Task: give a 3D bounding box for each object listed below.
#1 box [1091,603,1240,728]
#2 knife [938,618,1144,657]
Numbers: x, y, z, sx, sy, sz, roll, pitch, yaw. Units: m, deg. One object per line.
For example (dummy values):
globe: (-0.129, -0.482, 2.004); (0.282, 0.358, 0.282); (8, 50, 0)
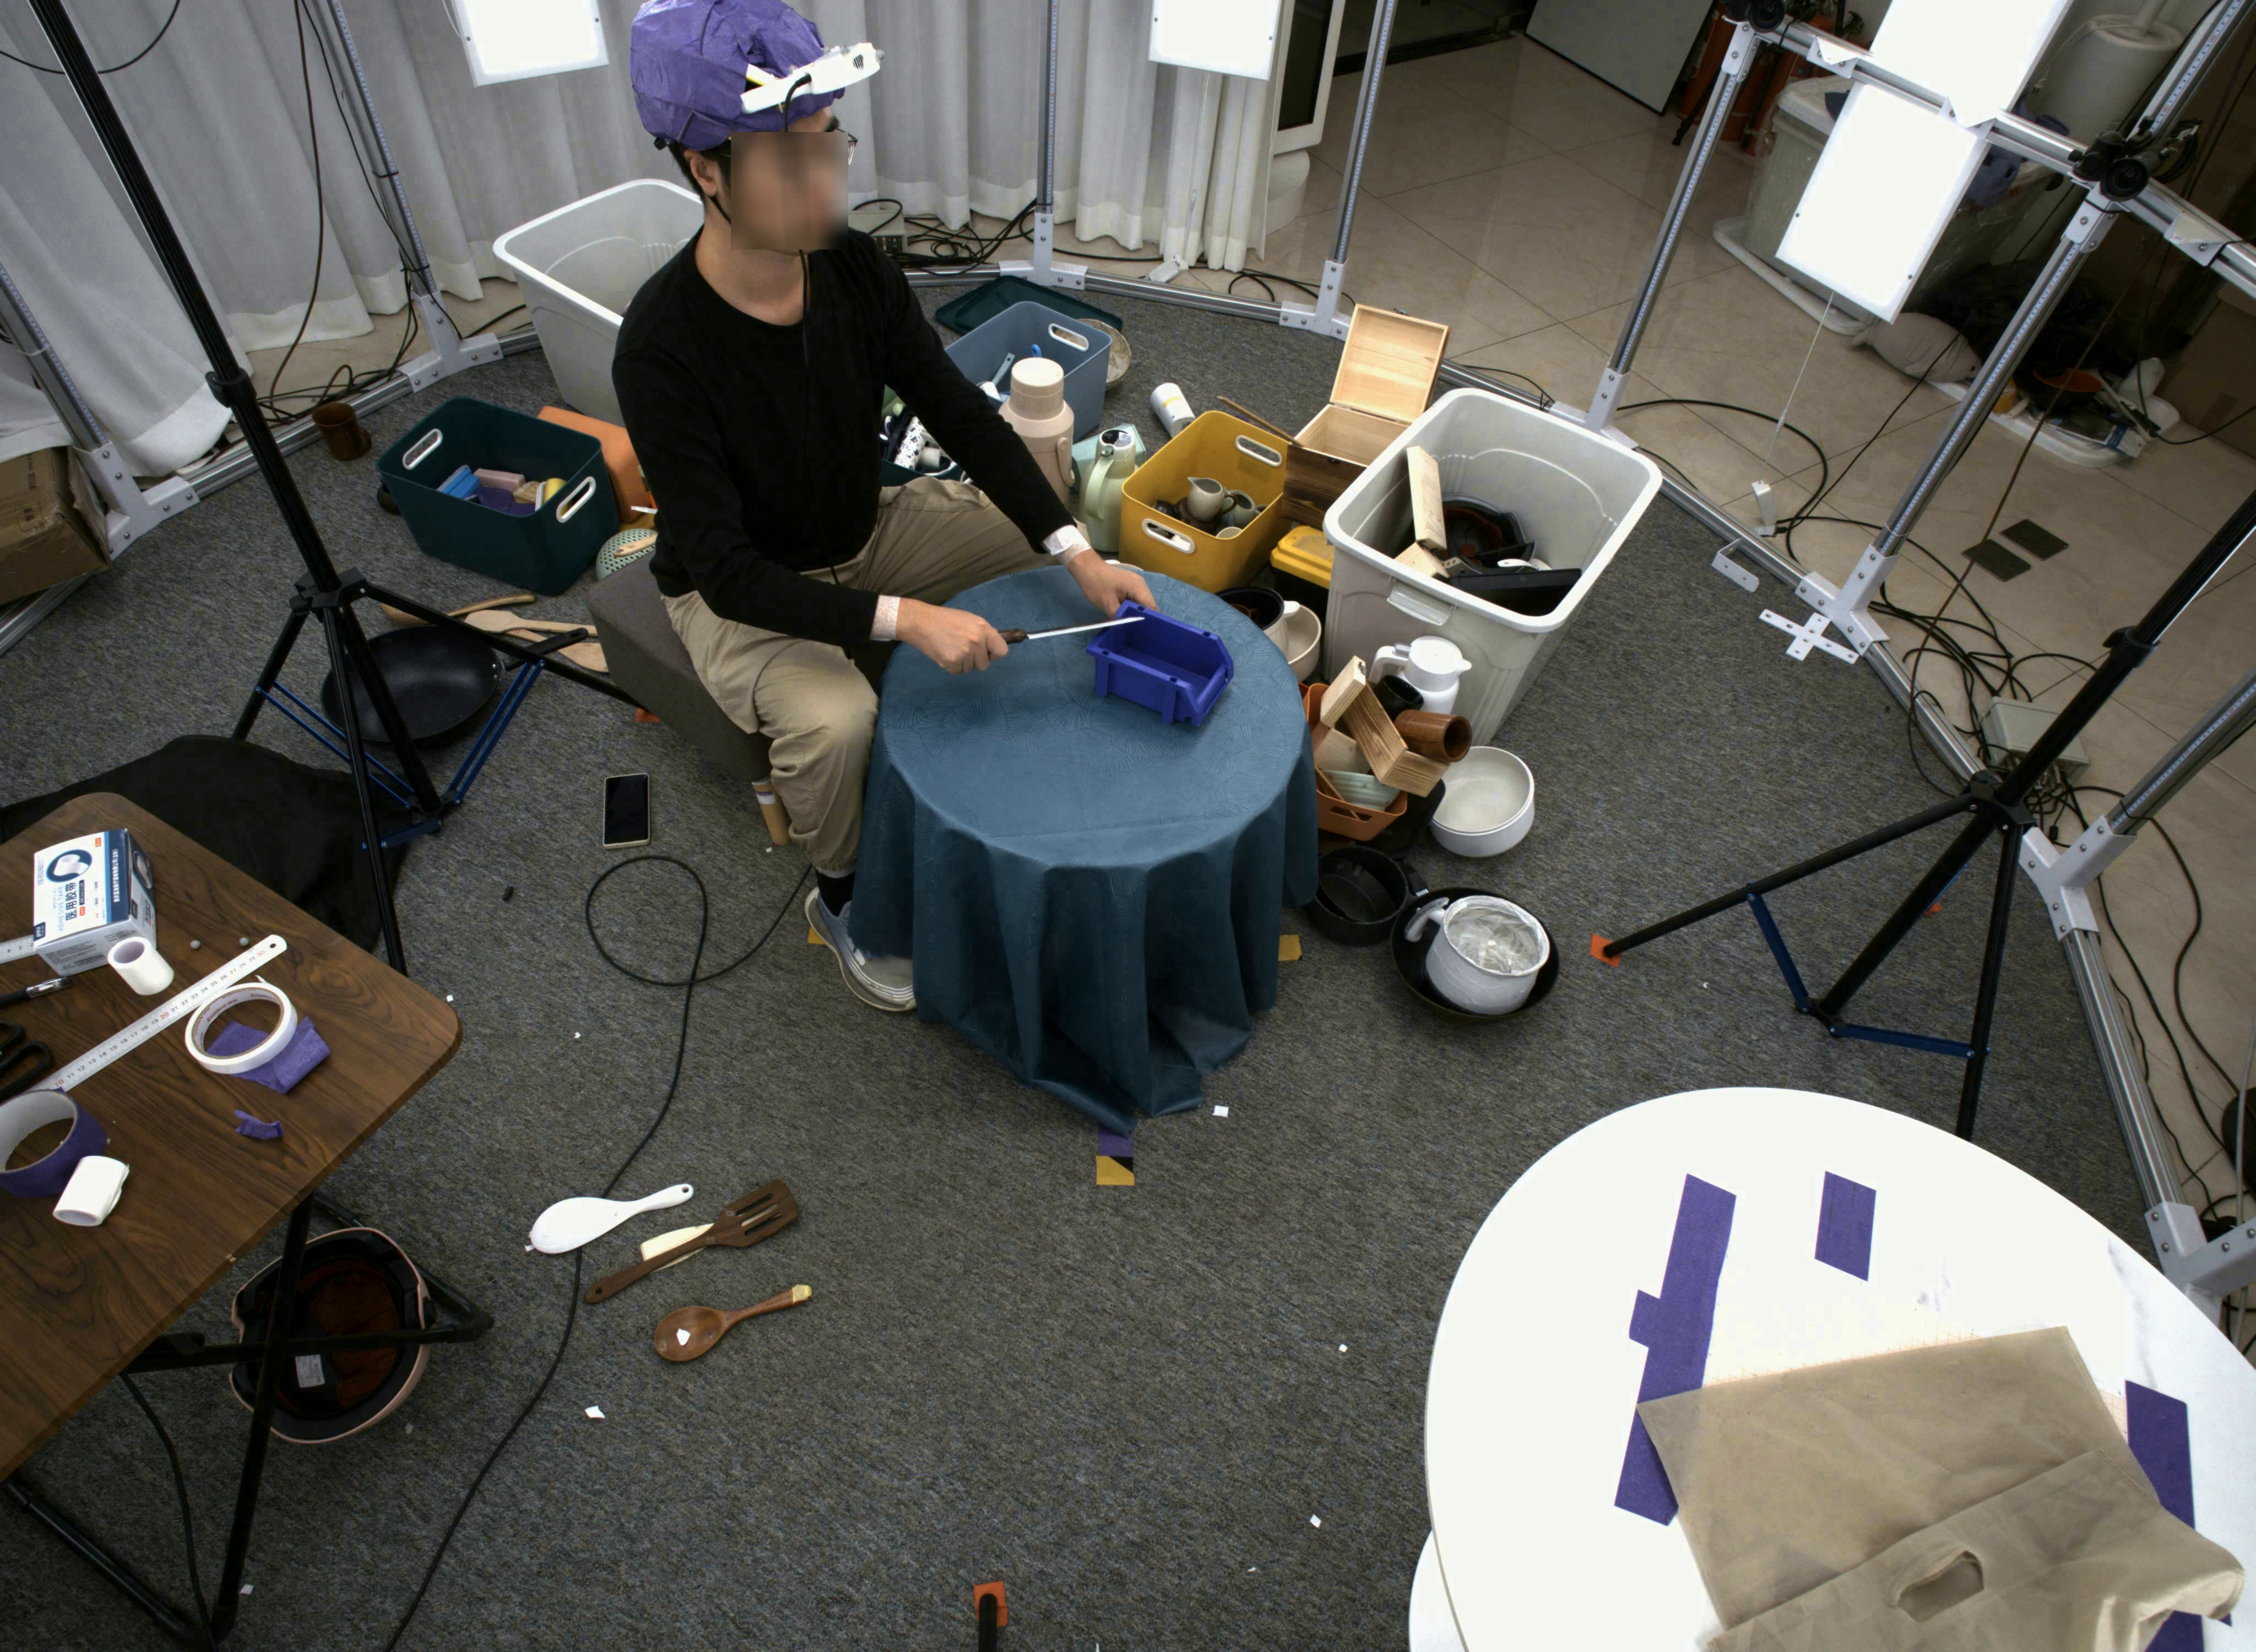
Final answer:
box: (0.056, -0.225, 1.816); (0.181, 0.080, 0.126); (23, 51, 19)
knife: (-0.118, -0.265, 1.782); (0.289, 0.020, 0.051); (-10, 21, -8)
